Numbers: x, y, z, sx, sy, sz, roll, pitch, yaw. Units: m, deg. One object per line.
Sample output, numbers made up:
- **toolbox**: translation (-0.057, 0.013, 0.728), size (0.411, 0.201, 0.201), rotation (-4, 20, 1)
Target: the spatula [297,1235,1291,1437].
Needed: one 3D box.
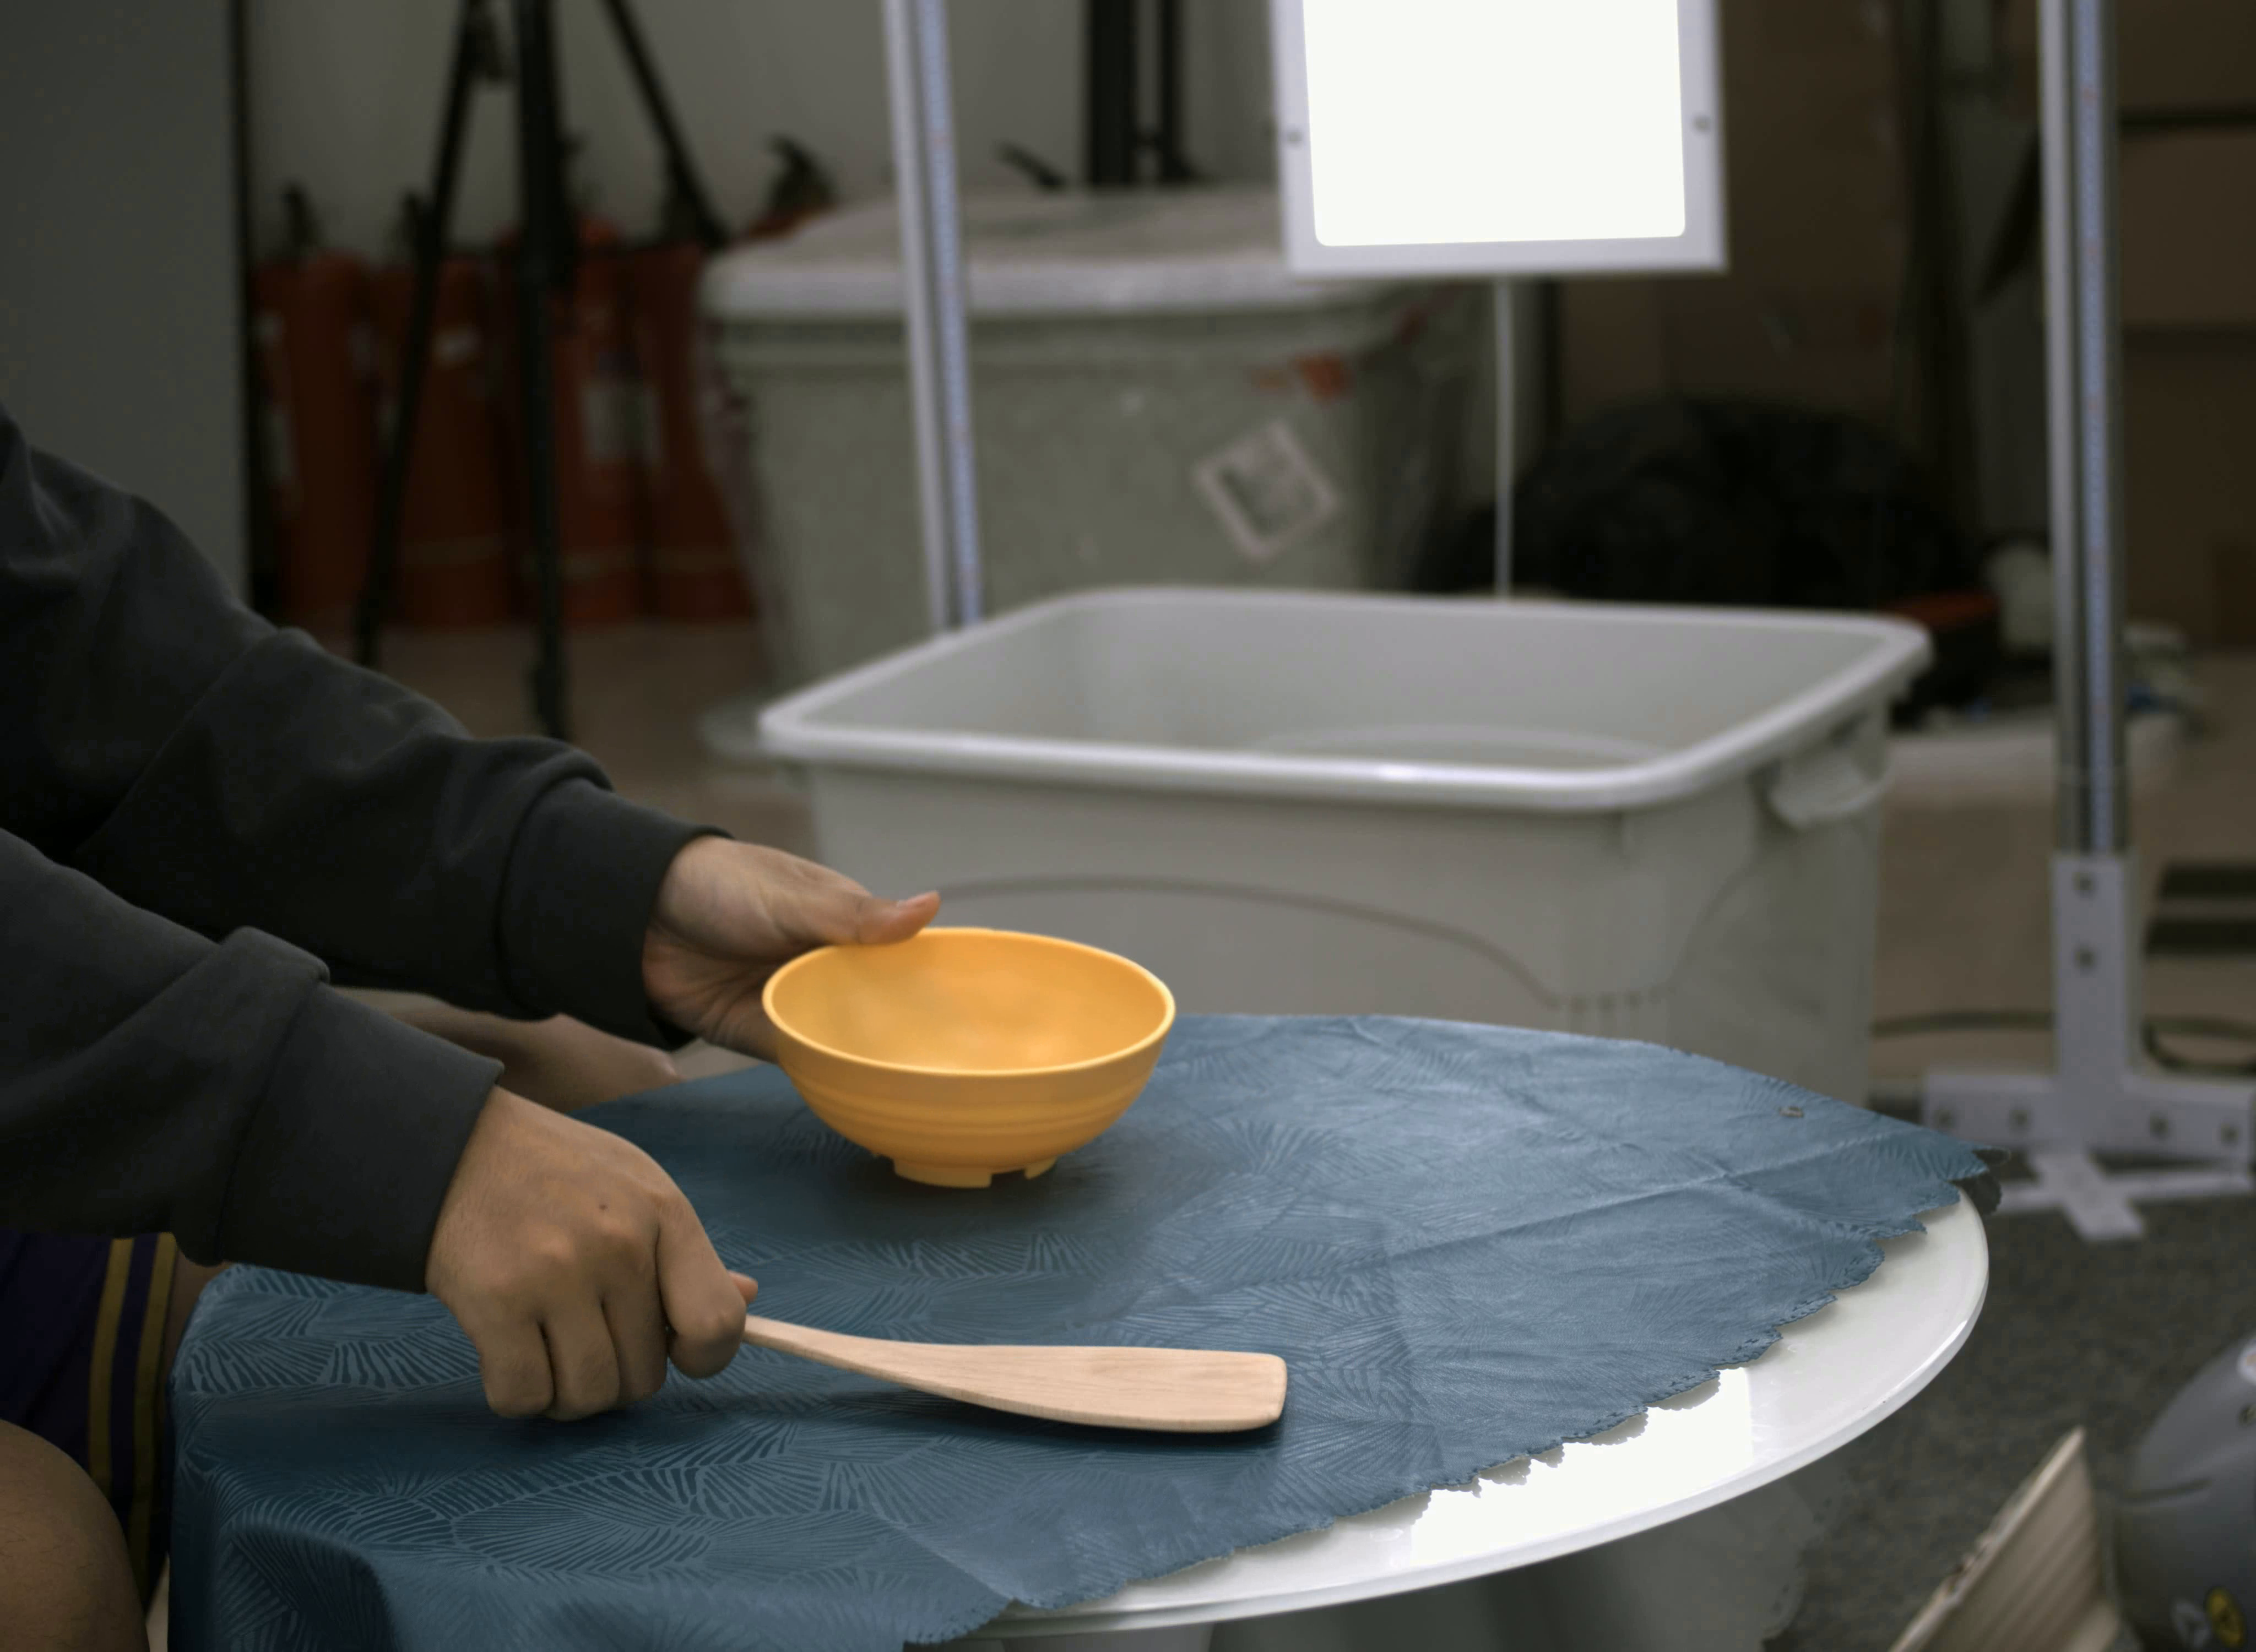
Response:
- **spatula**: translation (-0.104, 0.154, 1.716), size (0.330, 0.016, 0.079), rotation (9, 14, 15)

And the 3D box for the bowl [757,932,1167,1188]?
- **bowl**: translation (-0.060, 0.088, 1.936), size (0.145, 0.060, 0.145), rotation (2, 17, -2)
